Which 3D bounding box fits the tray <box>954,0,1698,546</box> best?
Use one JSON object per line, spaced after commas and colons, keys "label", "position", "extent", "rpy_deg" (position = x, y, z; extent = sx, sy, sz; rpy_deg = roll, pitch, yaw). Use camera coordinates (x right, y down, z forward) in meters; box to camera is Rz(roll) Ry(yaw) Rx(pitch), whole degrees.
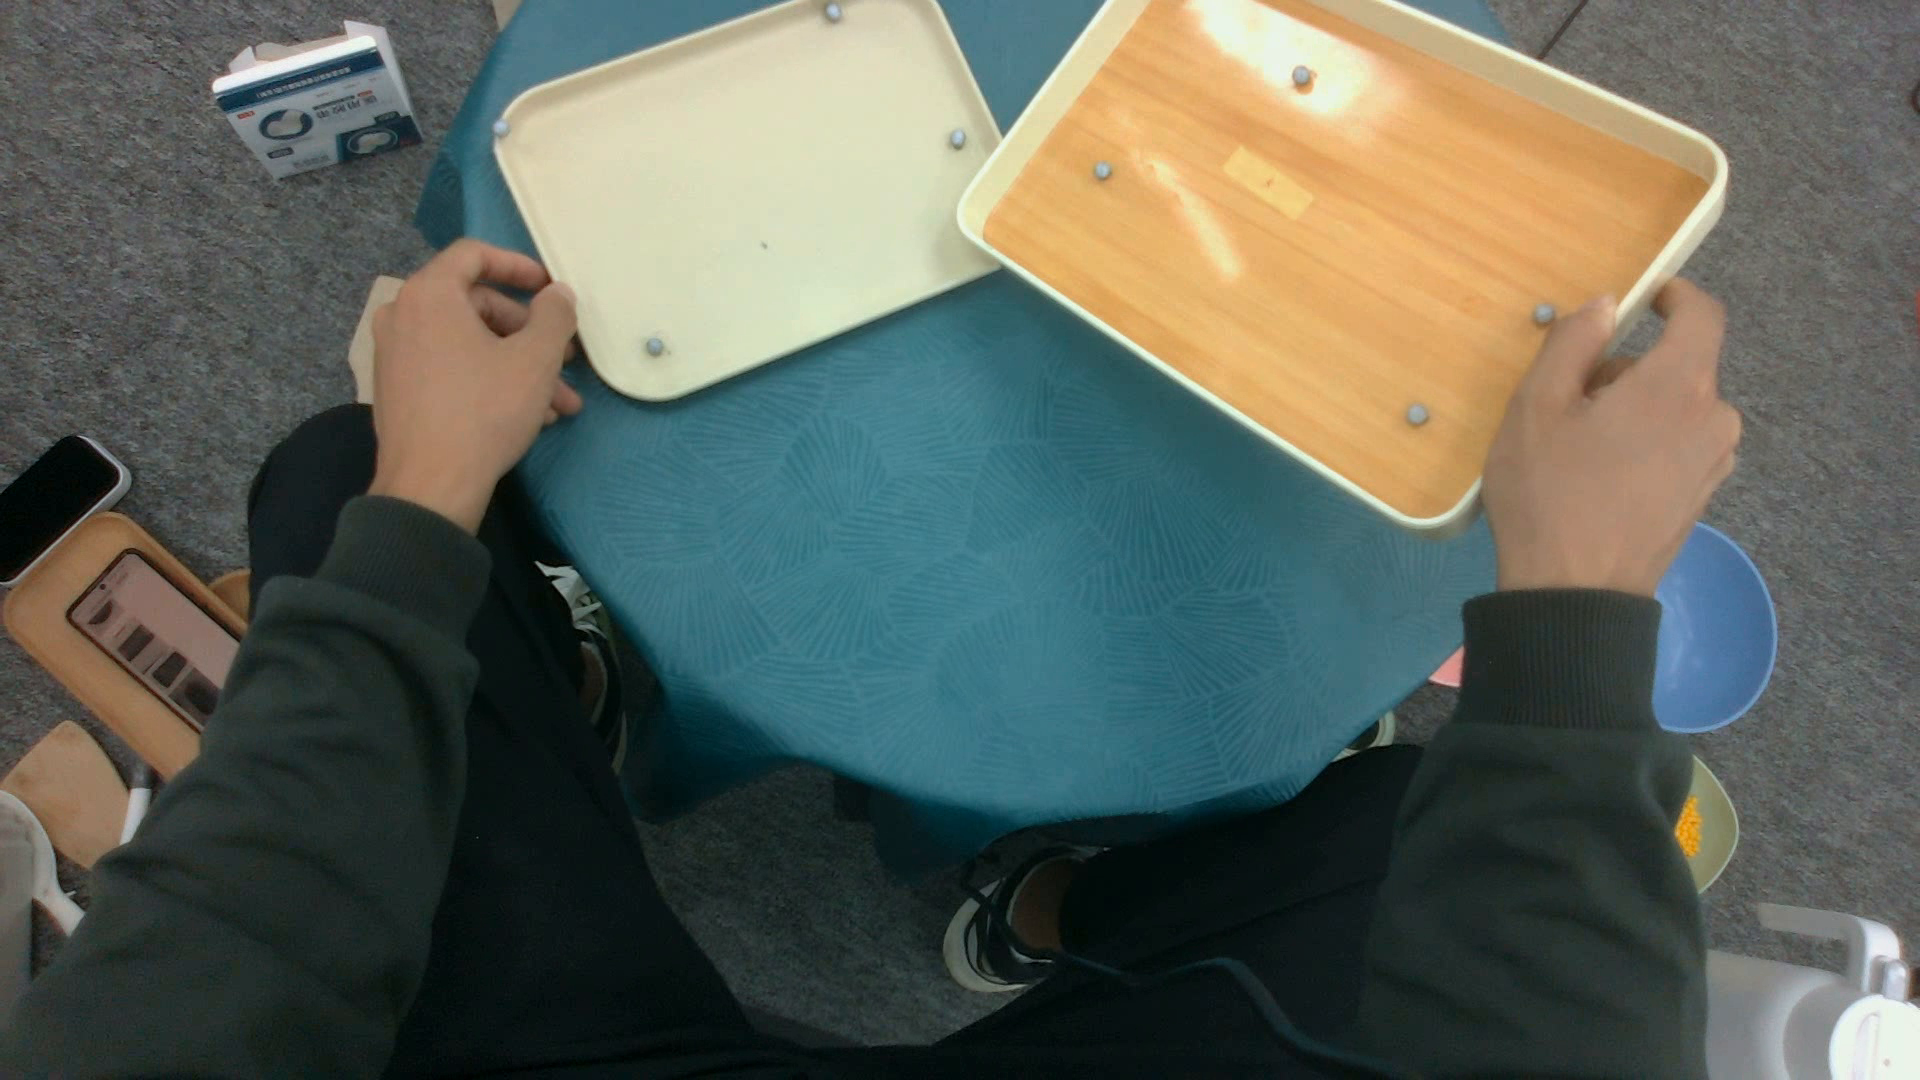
{"label": "tray", "position": [0.149, -0.148, 0.635], "extent": [0.300, 0.027, 0.191], "rpy_deg": [39, 94, 33]}

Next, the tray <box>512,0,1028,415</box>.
{"label": "tray", "position": [-0.094, -0.176, 0.715], "extent": [0.240, 0.017, 0.171], "rpy_deg": [-25, 85, -12]}
